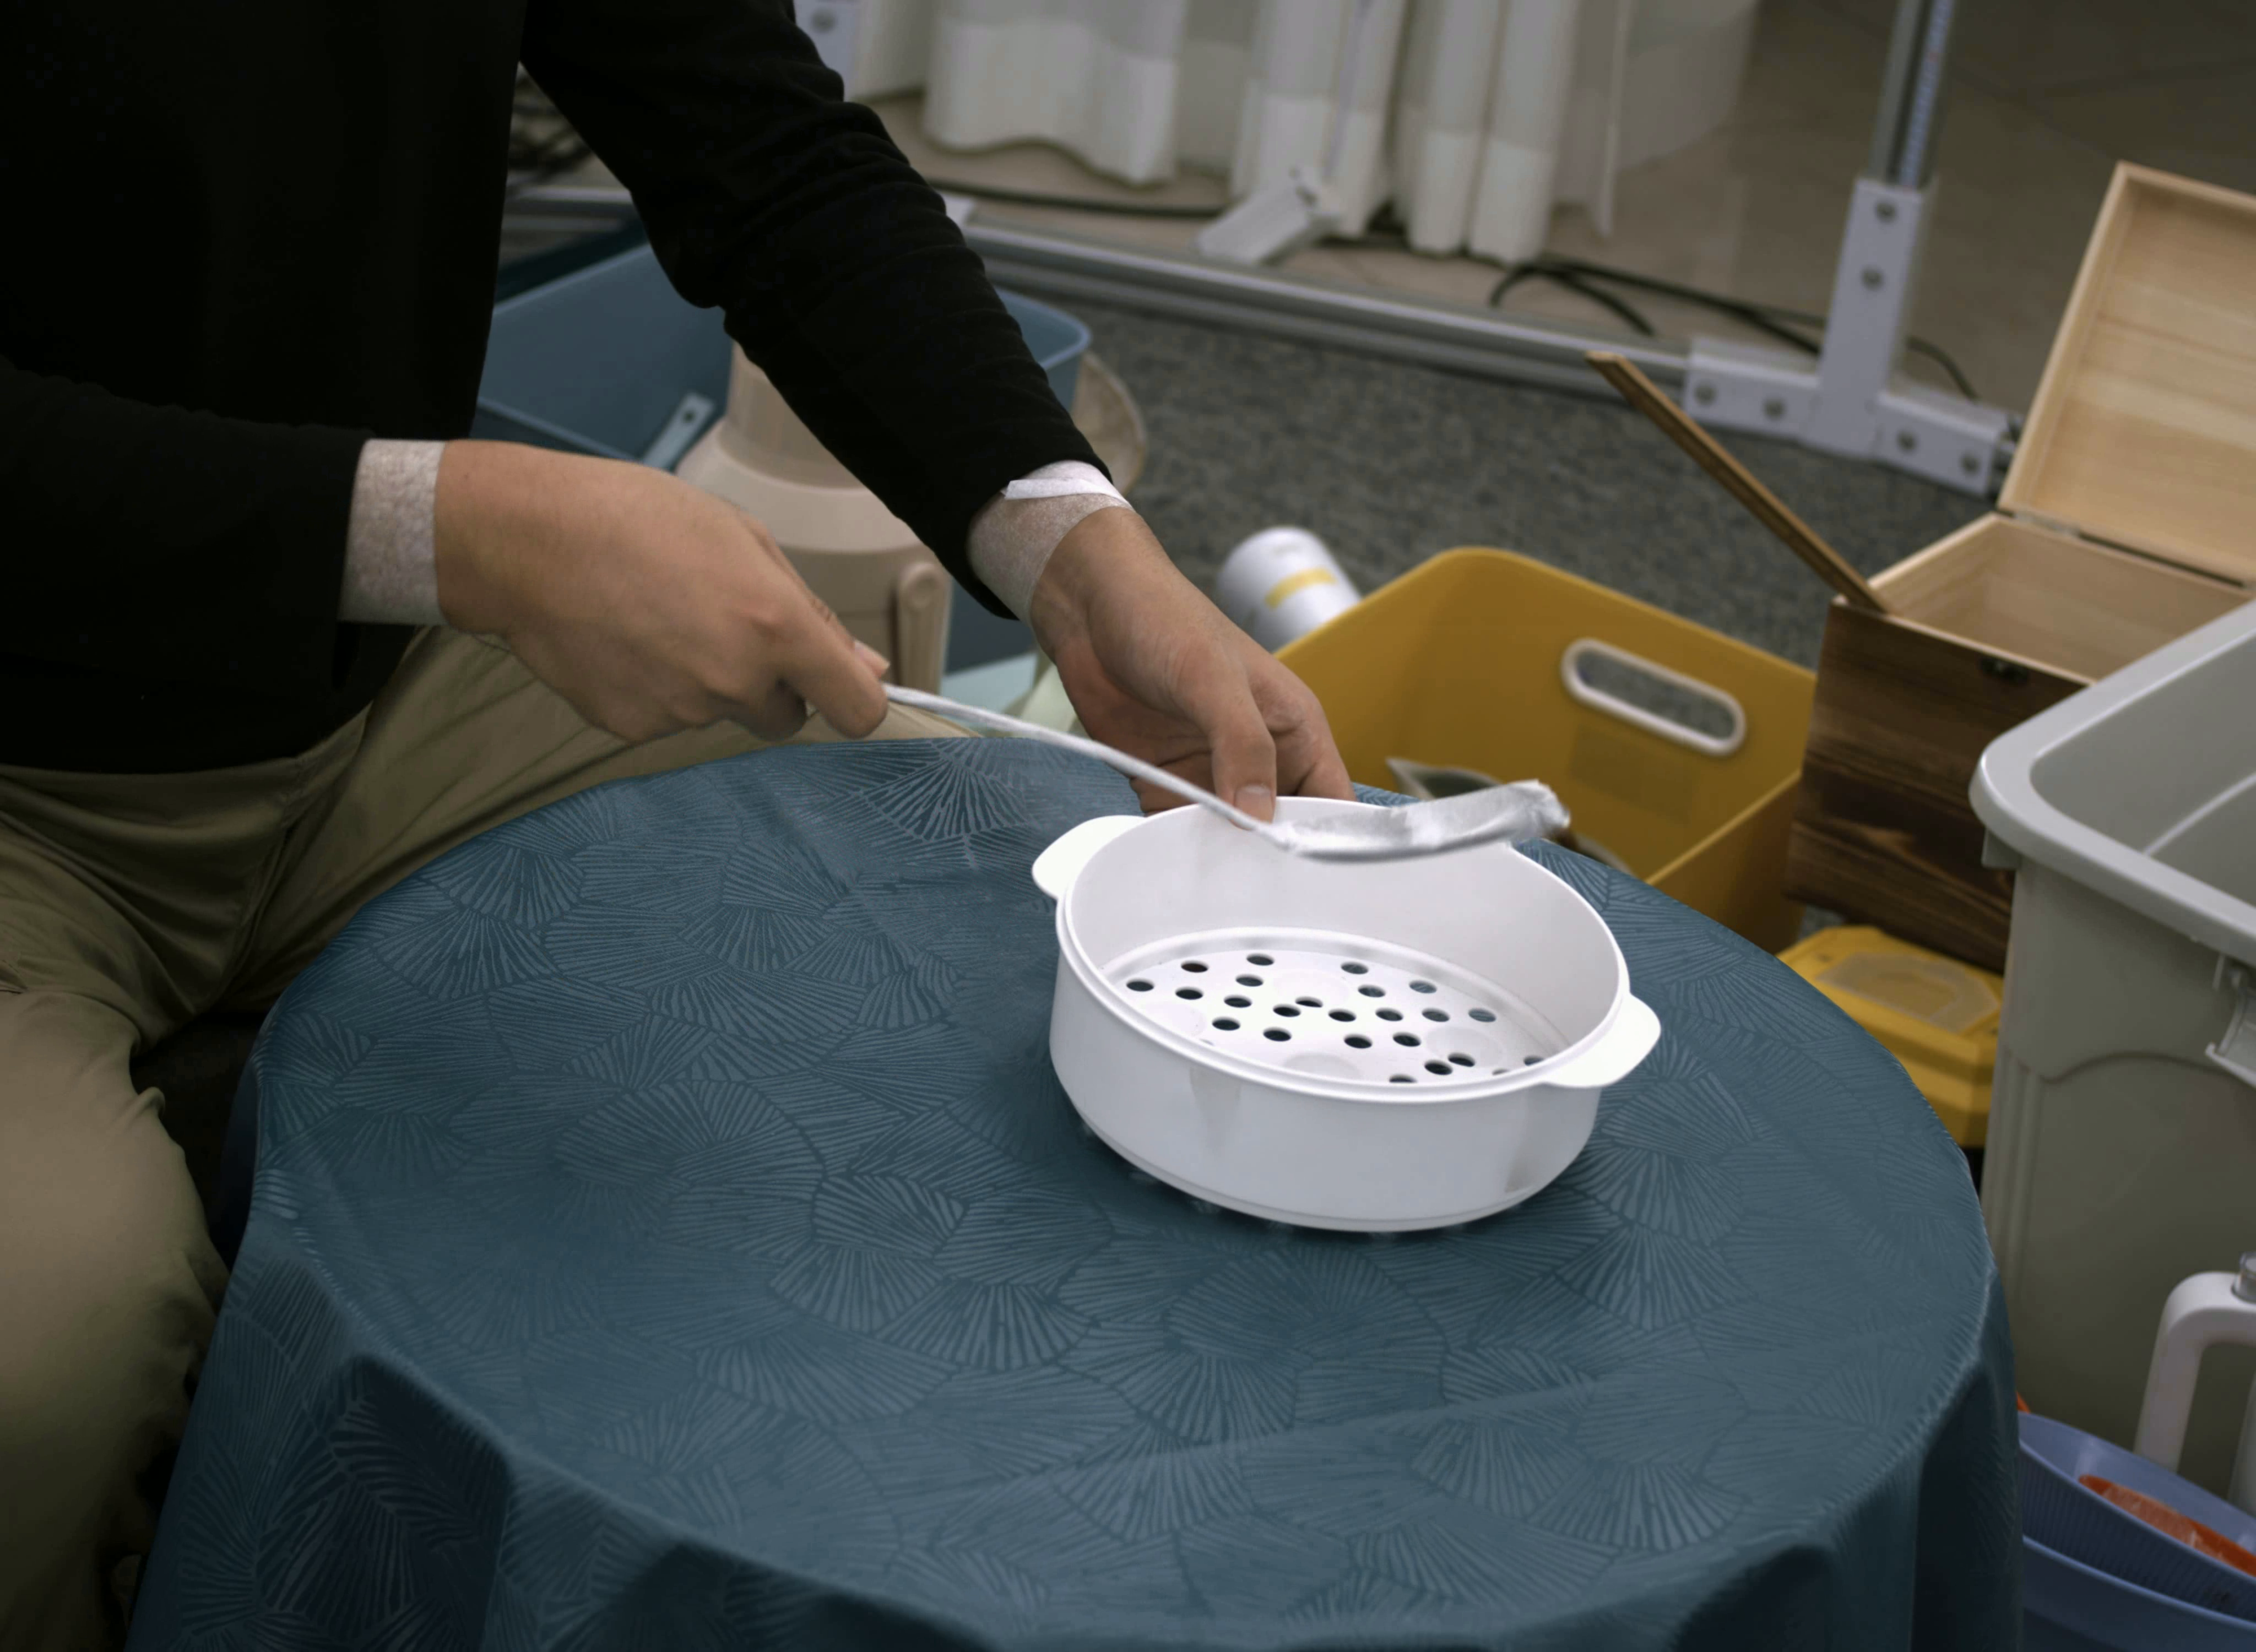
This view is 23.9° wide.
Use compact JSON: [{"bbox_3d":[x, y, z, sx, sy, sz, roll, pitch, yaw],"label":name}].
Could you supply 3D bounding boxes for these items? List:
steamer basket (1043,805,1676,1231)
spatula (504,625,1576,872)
[{"bbox_3d":[0.075,0.067,1.849,0.231,0.069,0.201,20,30,23],"label":"steamer basket"},{"bbox_3d":[-0.031,-0.033,1.782,0.364,0.045,0.099,16,11,1],"label":"spatula"}]
